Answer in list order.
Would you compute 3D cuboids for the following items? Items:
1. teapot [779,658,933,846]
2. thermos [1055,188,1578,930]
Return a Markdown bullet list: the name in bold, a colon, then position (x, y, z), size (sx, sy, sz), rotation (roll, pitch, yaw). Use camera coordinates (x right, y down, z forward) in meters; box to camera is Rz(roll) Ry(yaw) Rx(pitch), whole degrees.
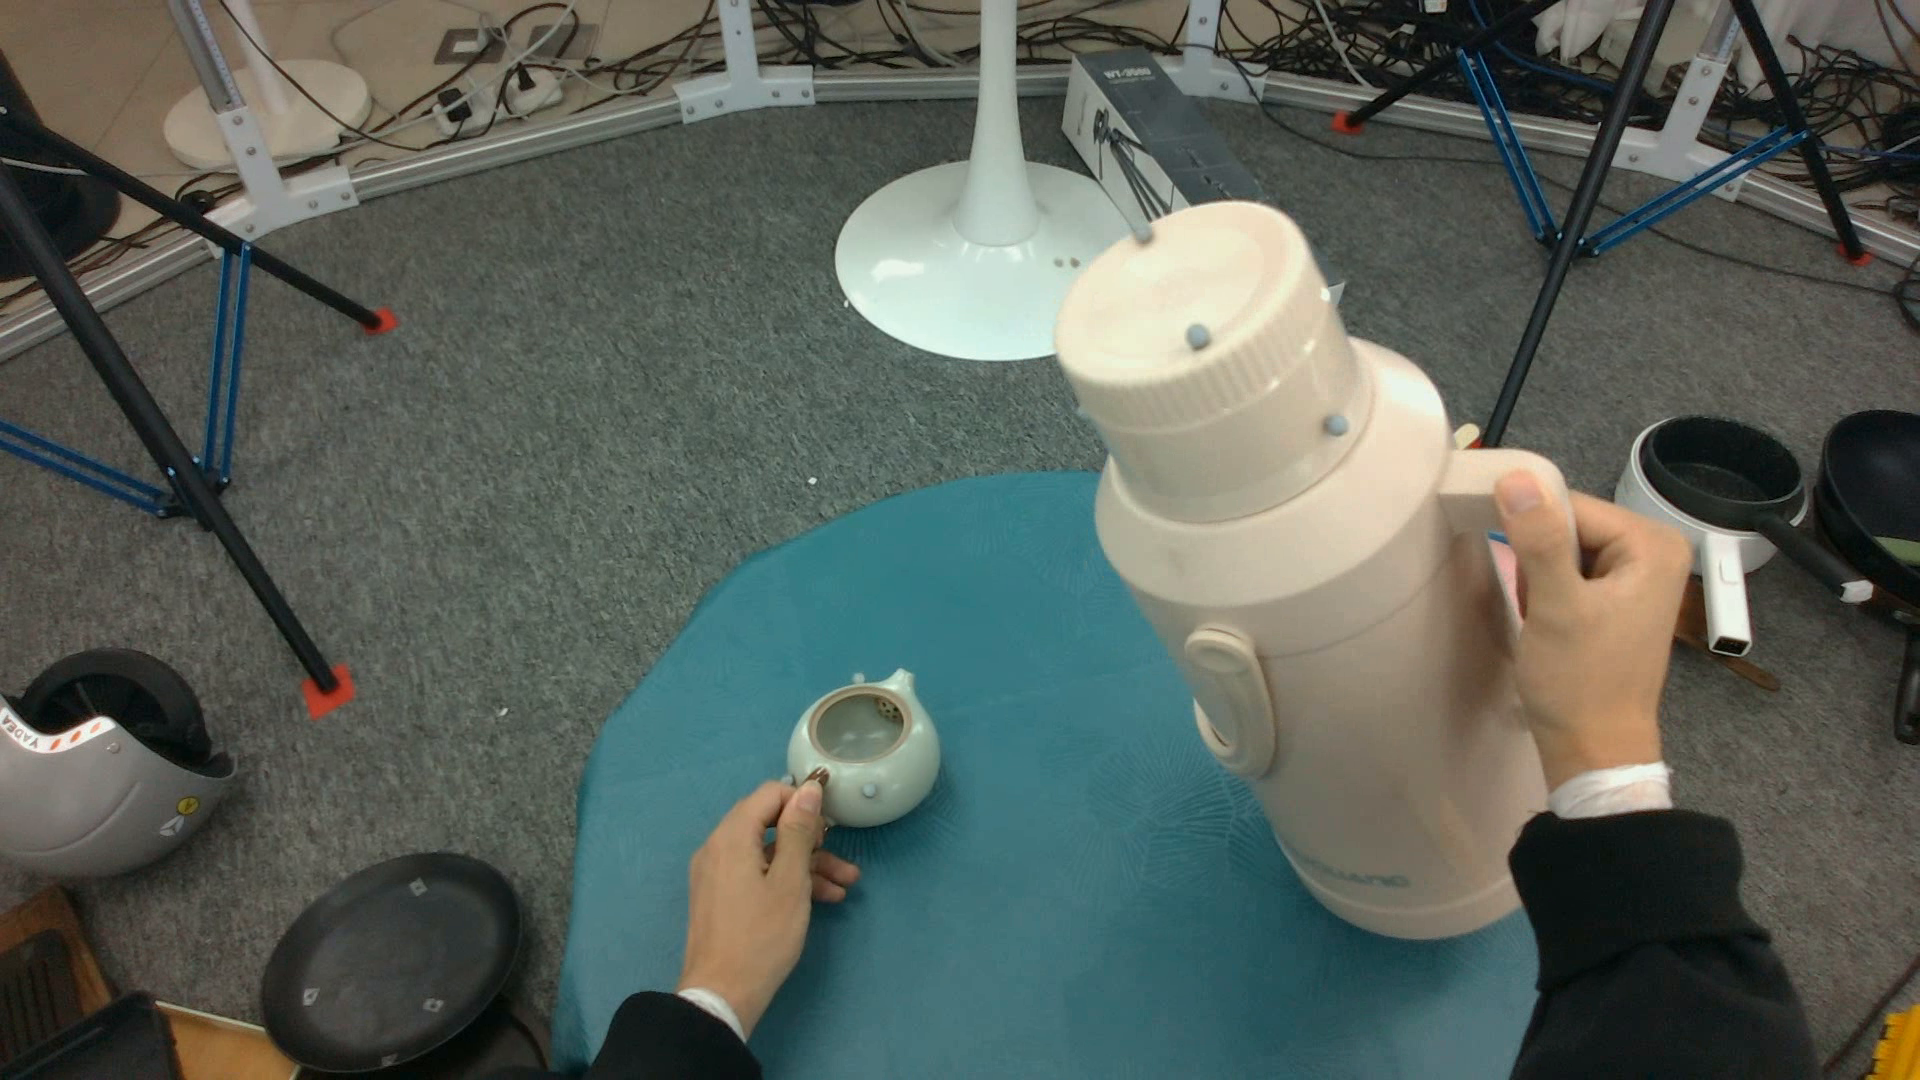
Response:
- **teapot**: position (-0.067, 0.129, 0.818), size (0.092, 0.059, 0.129), rotation (19, 45, 21)
- **thermos**: position (0.184, 0.025, 0.650), size (0.206, 0.405, 0.176), rotation (1, 50, 36)
